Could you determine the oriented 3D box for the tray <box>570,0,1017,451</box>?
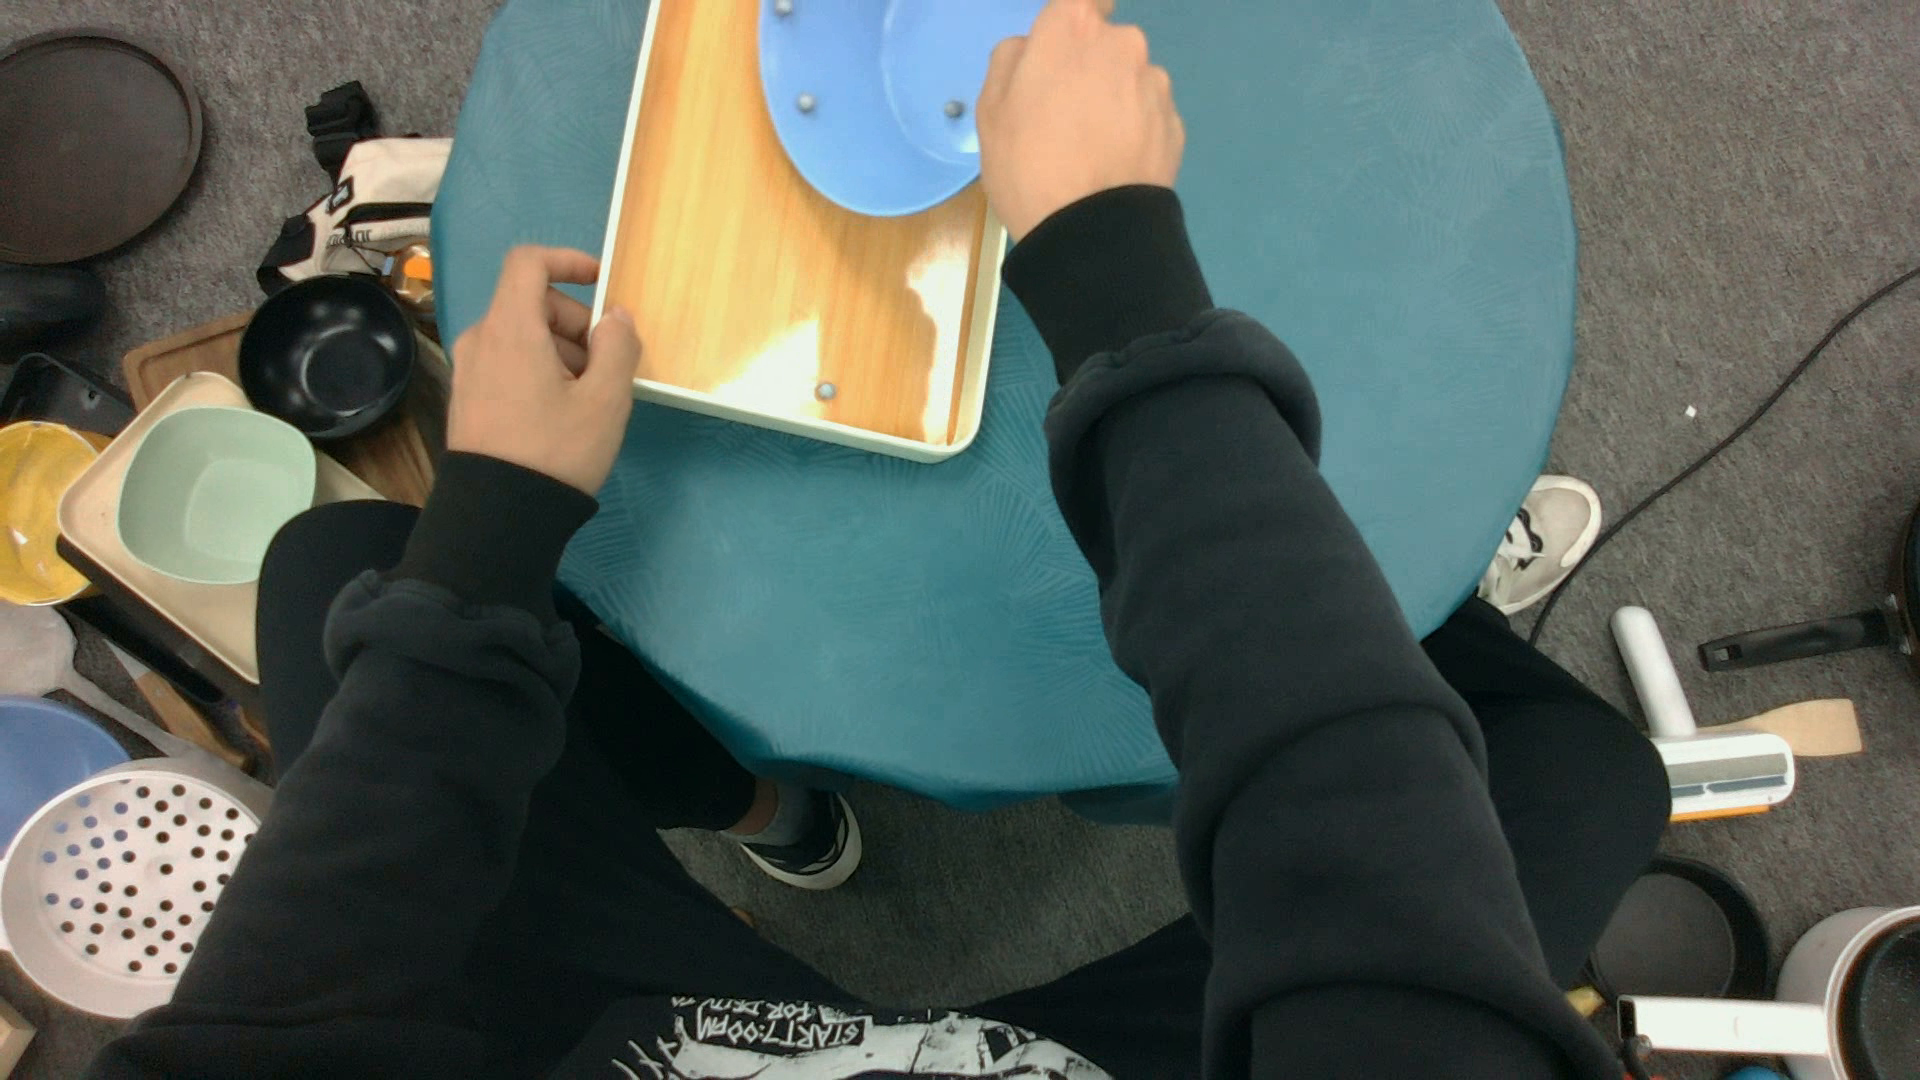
[{"bbox_3d":[-0.075,-0.205,0.691,0.192,0.027,0.301,12,76,-18],"label":"tray"}]

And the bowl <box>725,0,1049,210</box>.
[{"bbox_3d":[-0.025,-0.240,0.639,0.175,0.070,0.176,6,99,37],"label":"bowl"}]
